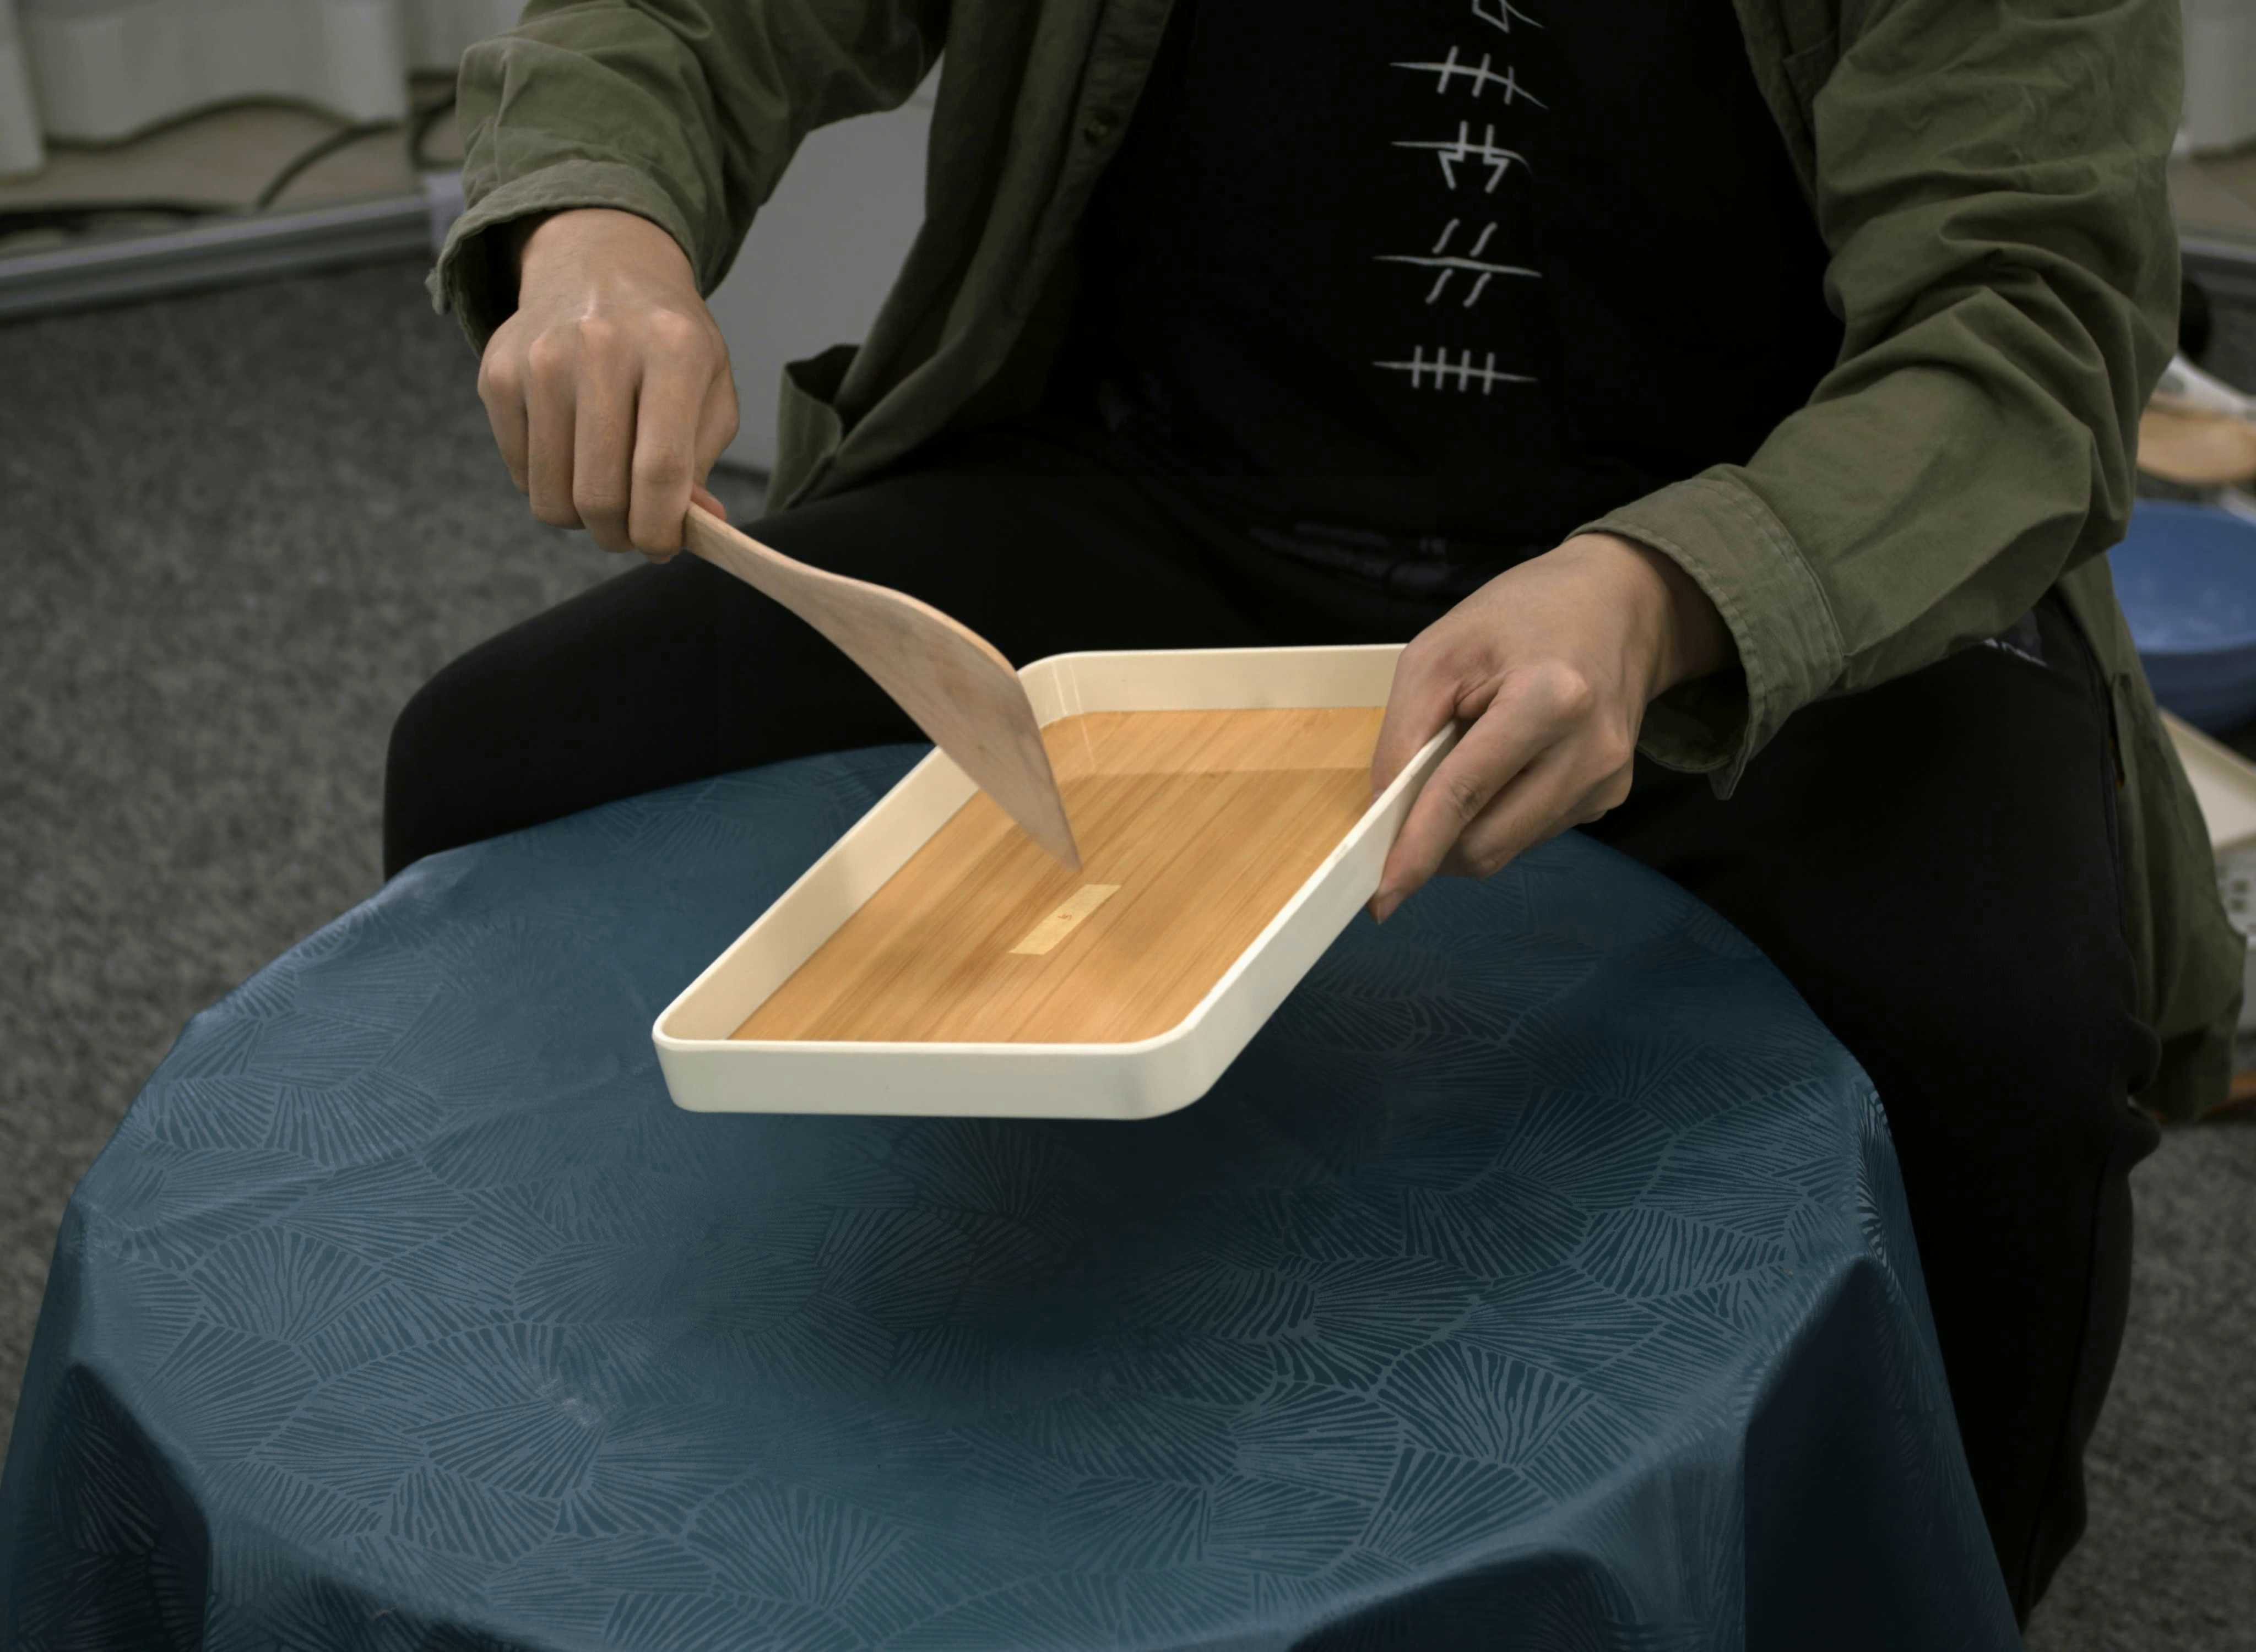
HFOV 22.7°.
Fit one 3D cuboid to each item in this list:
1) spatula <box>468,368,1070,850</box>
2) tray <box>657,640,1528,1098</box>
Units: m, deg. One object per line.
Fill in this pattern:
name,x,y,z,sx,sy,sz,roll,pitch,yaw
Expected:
spatula,-0.125,-0.086,1.845,0.017,0.079,0.328,-35,44,-25
tray,-0.006,0.010,1.834,0.190,0.027,0.305,0,24,27
